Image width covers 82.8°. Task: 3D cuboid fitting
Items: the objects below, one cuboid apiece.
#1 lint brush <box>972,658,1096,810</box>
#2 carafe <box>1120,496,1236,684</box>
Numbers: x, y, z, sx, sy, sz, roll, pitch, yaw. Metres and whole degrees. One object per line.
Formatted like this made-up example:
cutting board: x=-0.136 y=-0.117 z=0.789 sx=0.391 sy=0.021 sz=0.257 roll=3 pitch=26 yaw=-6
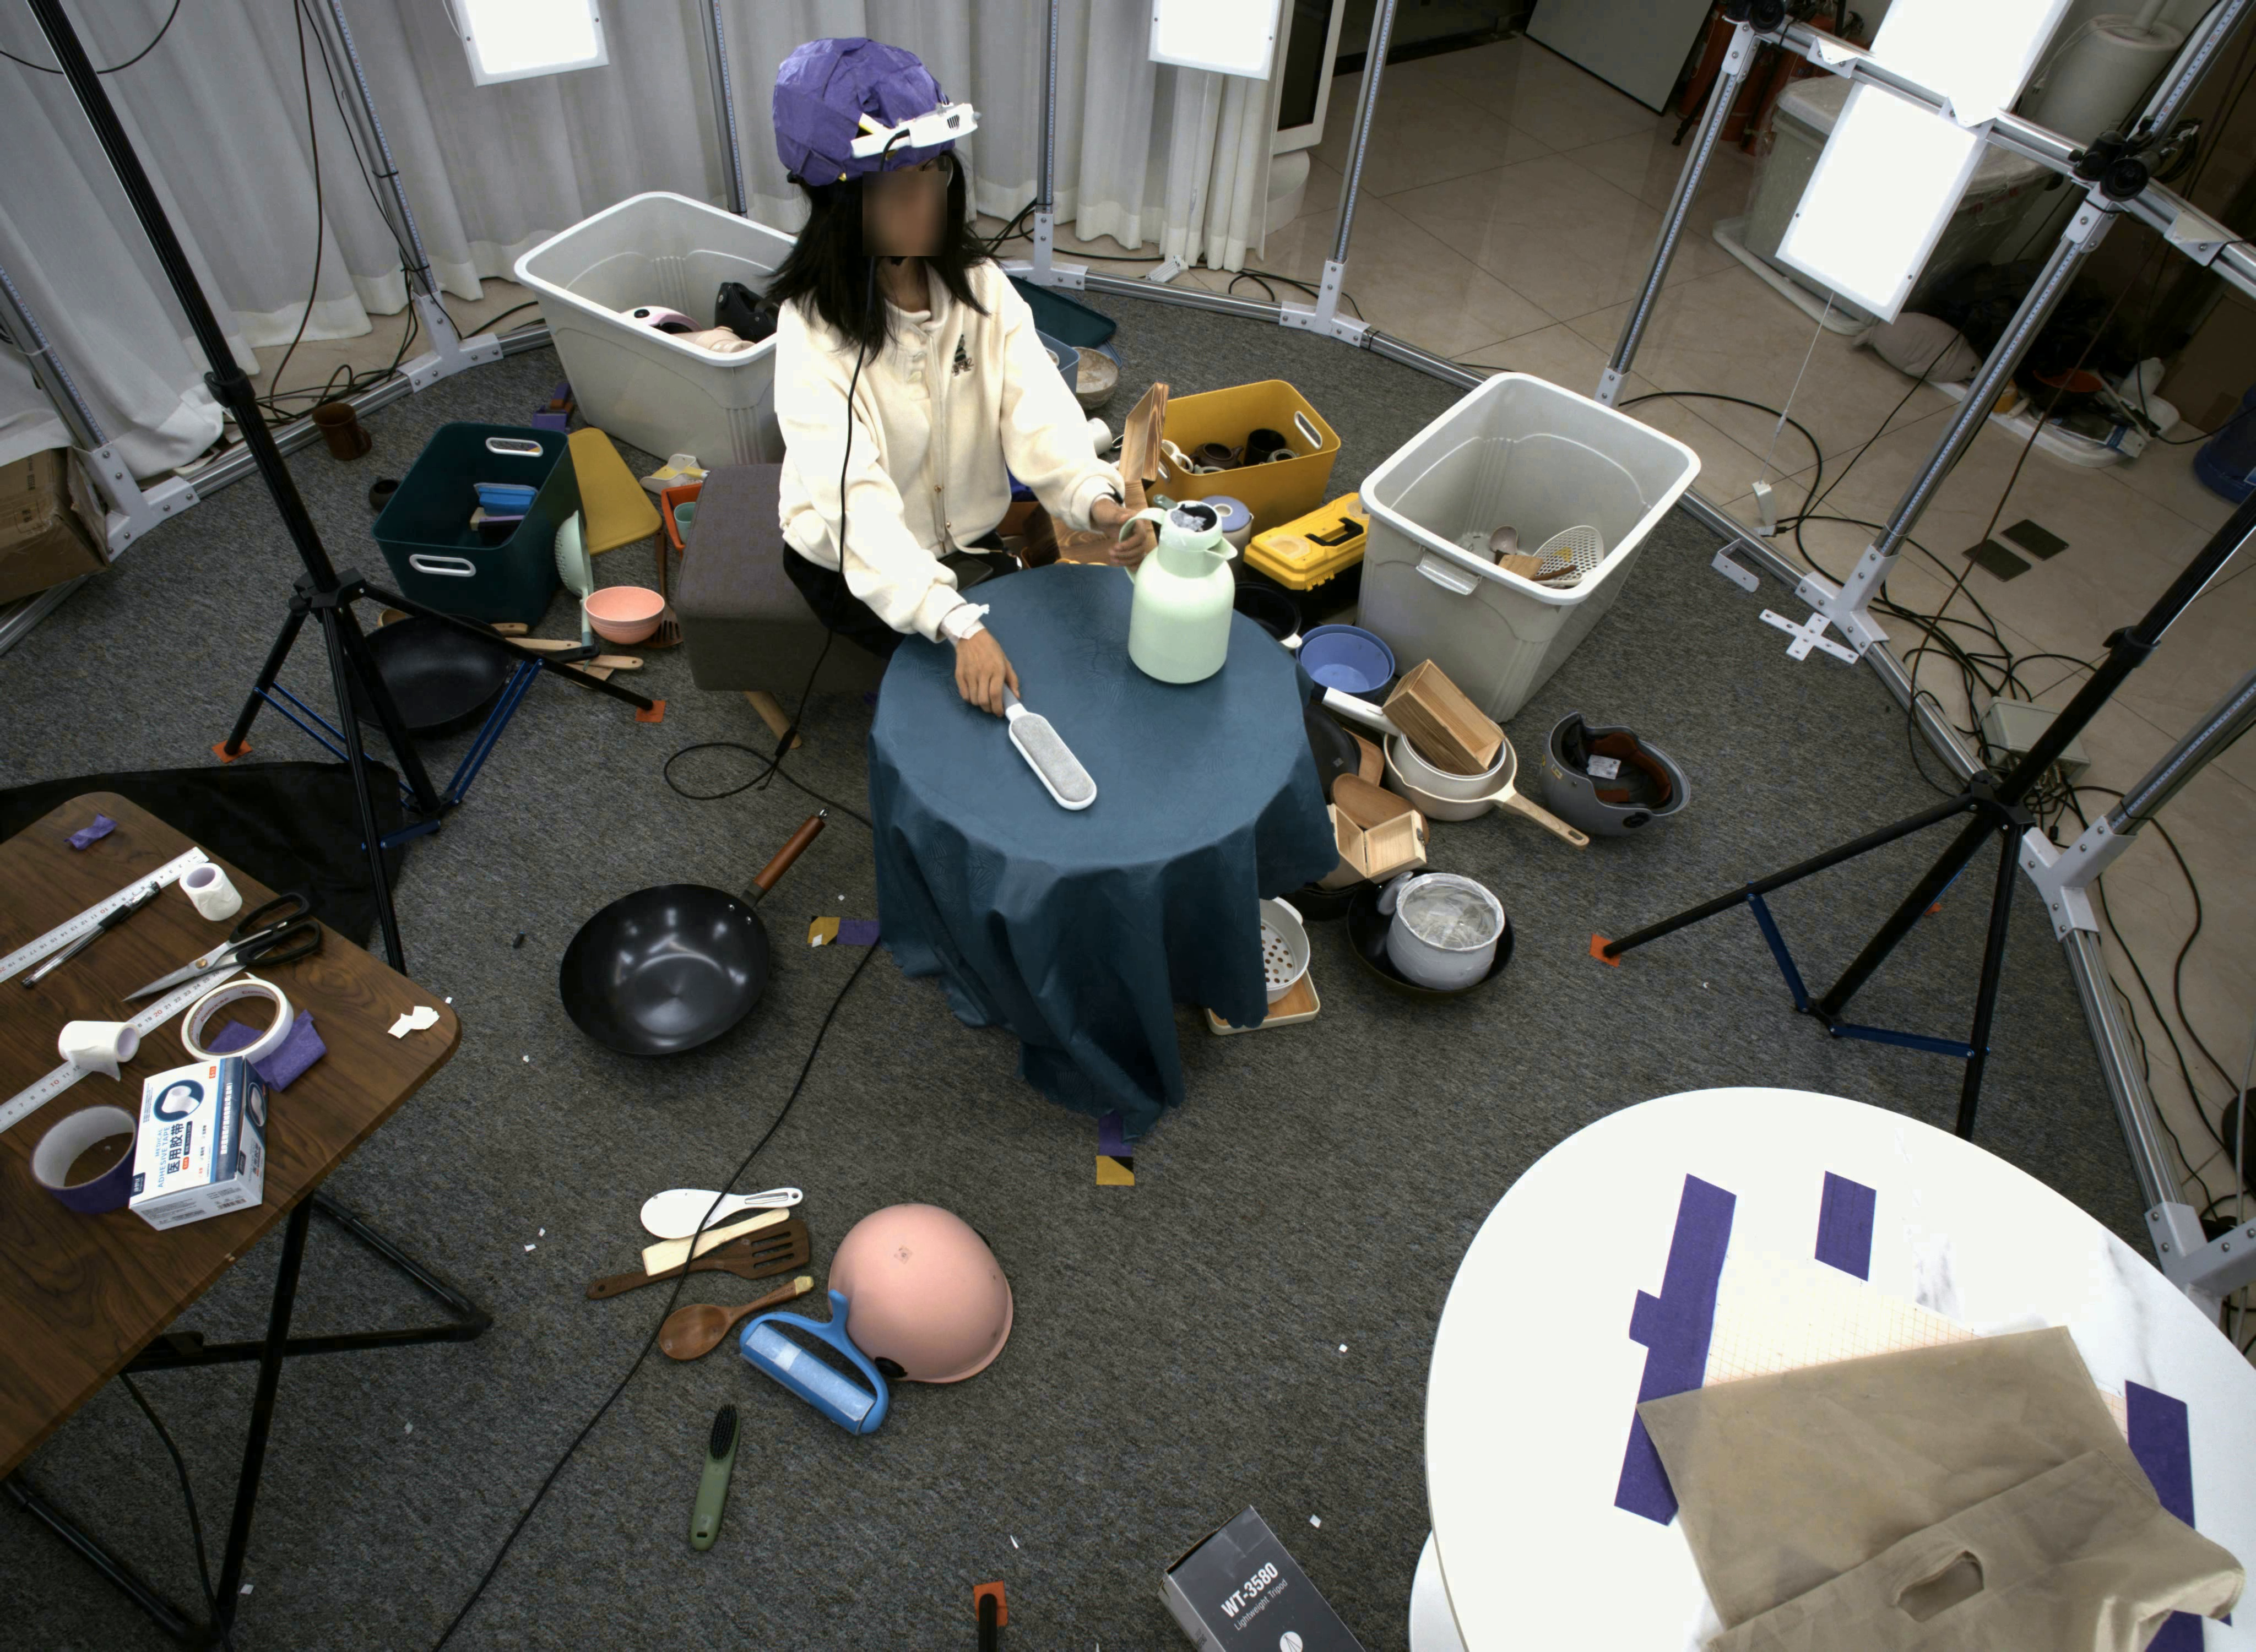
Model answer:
lint brush: x=-0.134 y=-0.132 z=1.759 sx=0.060 sy=0.020 sz=0.315 roll=-24 pitch=55 yaw=-20
carafe: x=0.069 y=-0.338 z=1.807 sx=0.189 sy=0.250 sz=0.146 roll=32 pitch=55 yaw=26
